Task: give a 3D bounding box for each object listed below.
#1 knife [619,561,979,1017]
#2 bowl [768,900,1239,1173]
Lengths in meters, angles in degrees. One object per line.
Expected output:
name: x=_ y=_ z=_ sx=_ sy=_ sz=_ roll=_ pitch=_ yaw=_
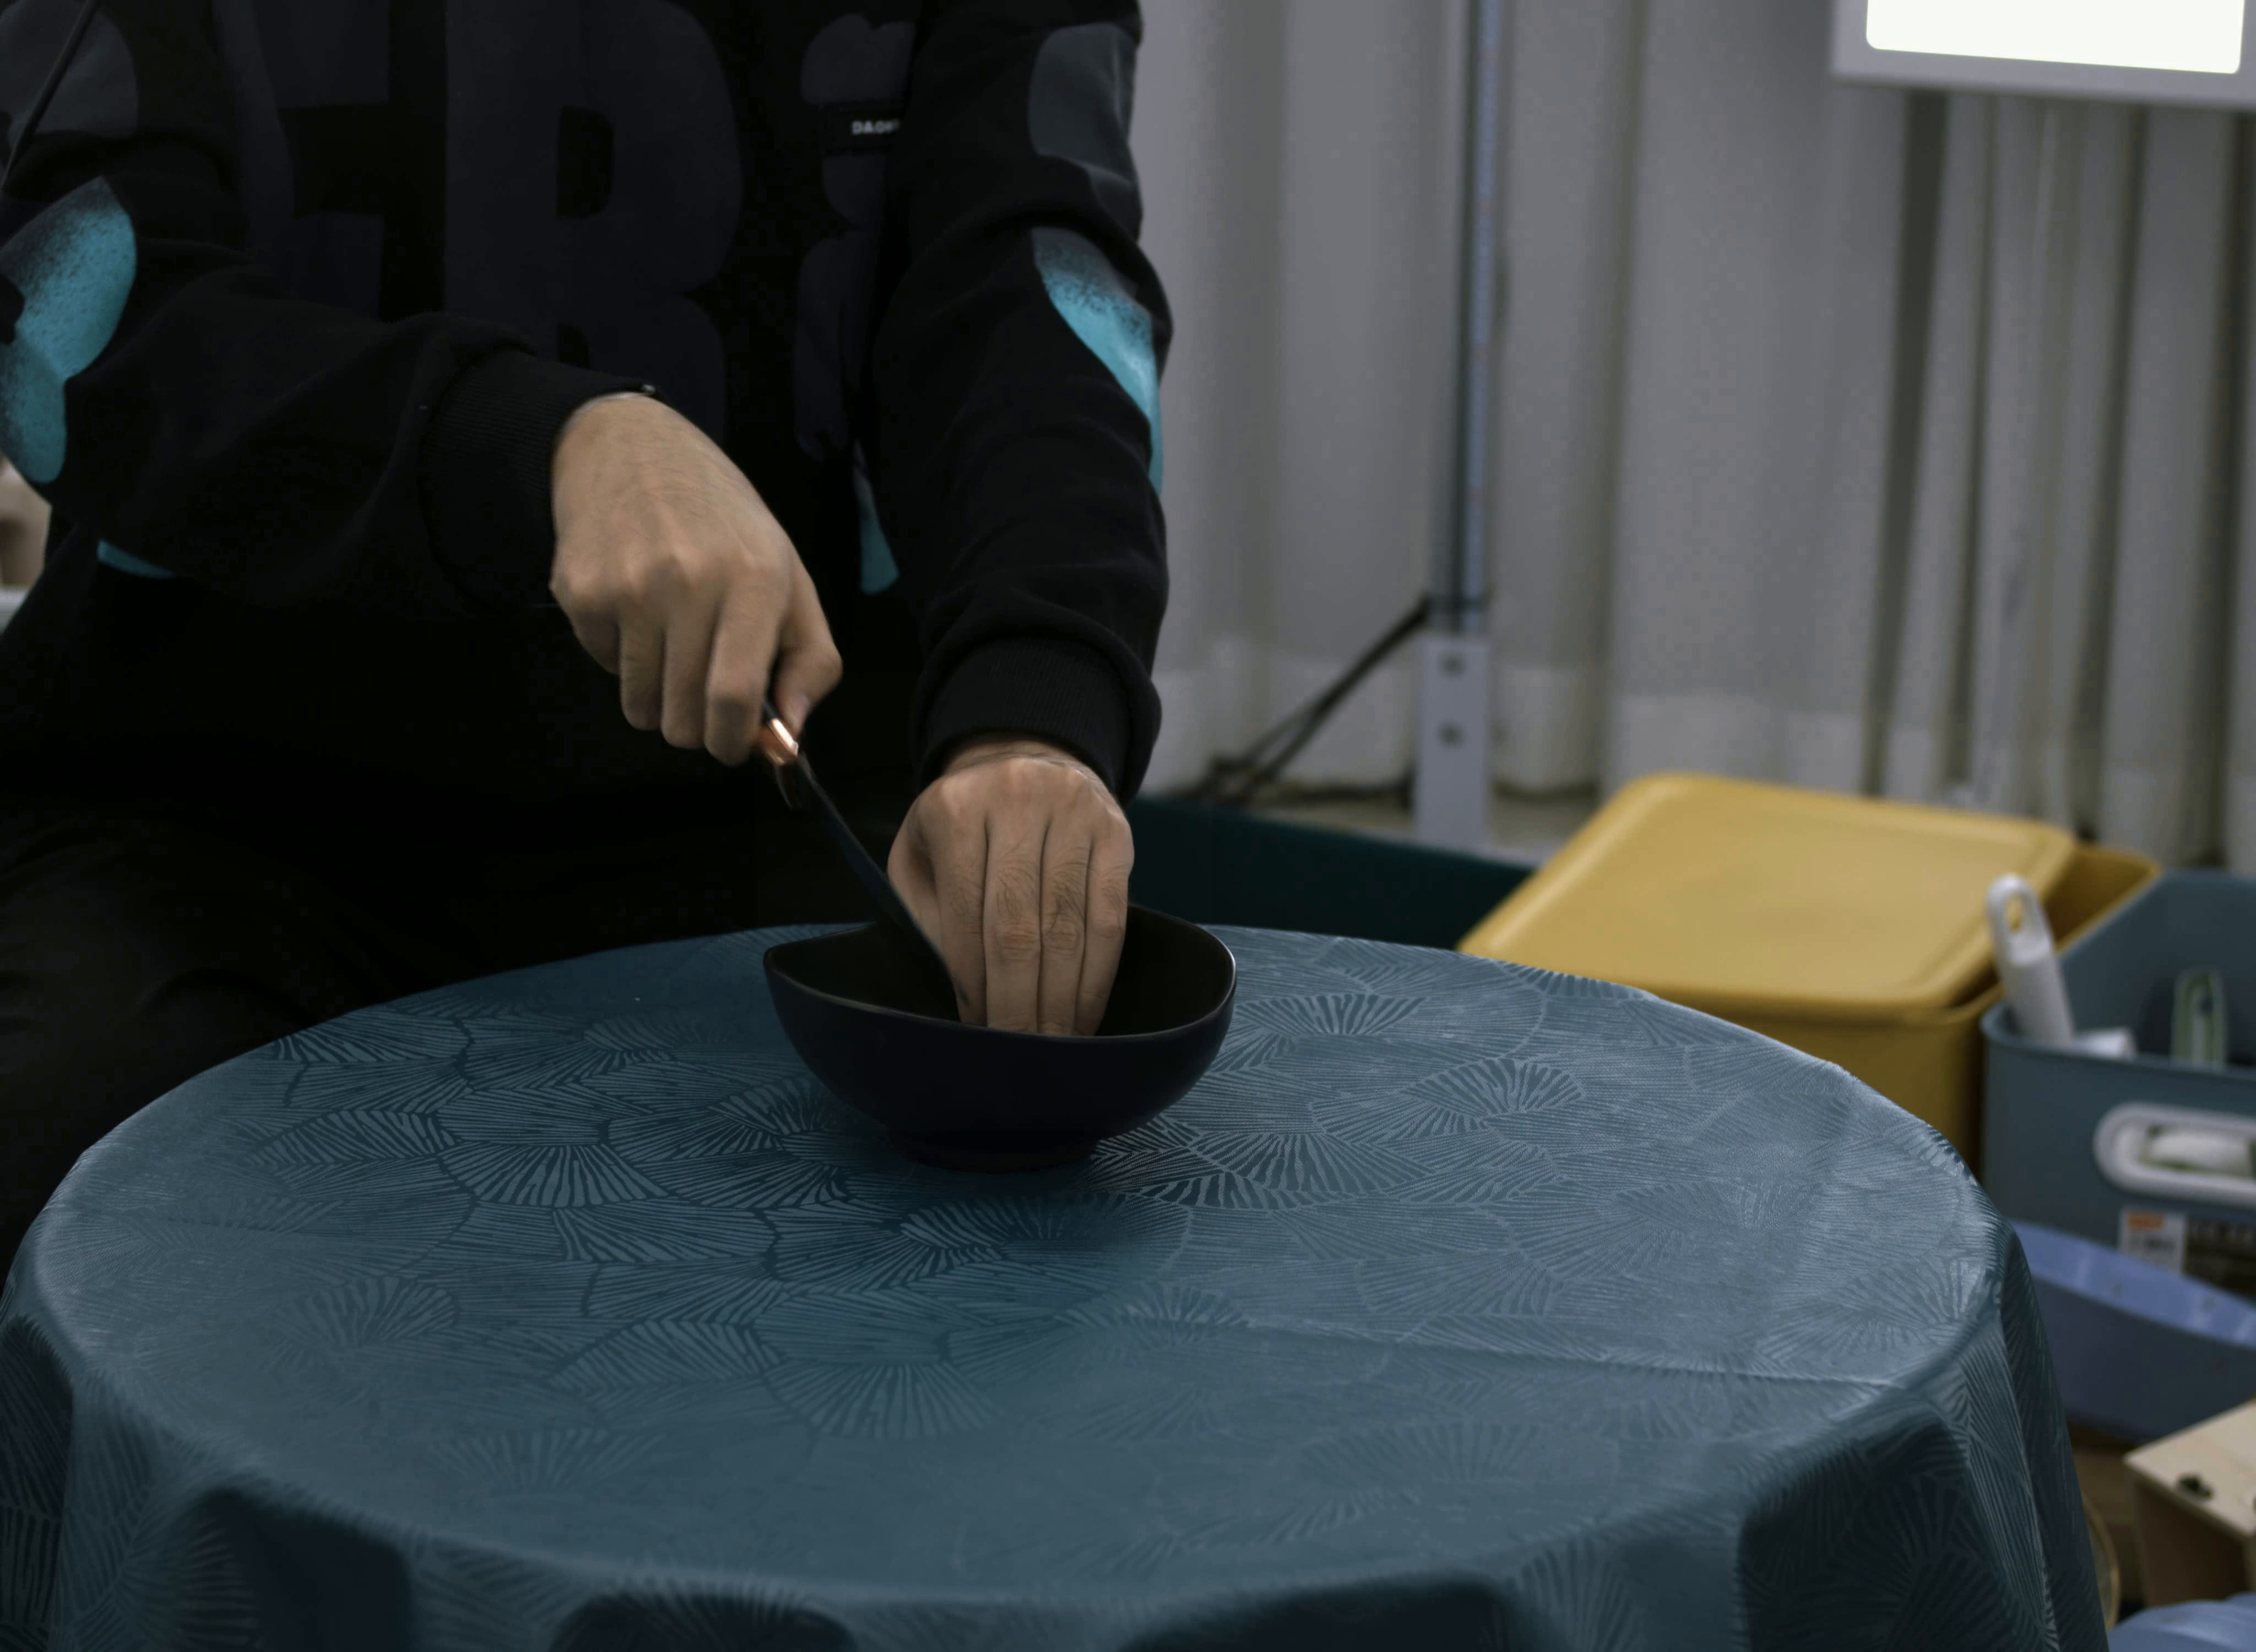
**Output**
knife: x=-0.103 y=-0.010 z=1.681 sx=0.017 sy=0.026 sz=0.223 roll=-31 pitch=57 yaw=-14
bowl: x=-0.041 y=0.069 z=1.656 sx=0.138 sy=0.067 sz=0.168 roll=-13 pitch=18 yaw=-40
